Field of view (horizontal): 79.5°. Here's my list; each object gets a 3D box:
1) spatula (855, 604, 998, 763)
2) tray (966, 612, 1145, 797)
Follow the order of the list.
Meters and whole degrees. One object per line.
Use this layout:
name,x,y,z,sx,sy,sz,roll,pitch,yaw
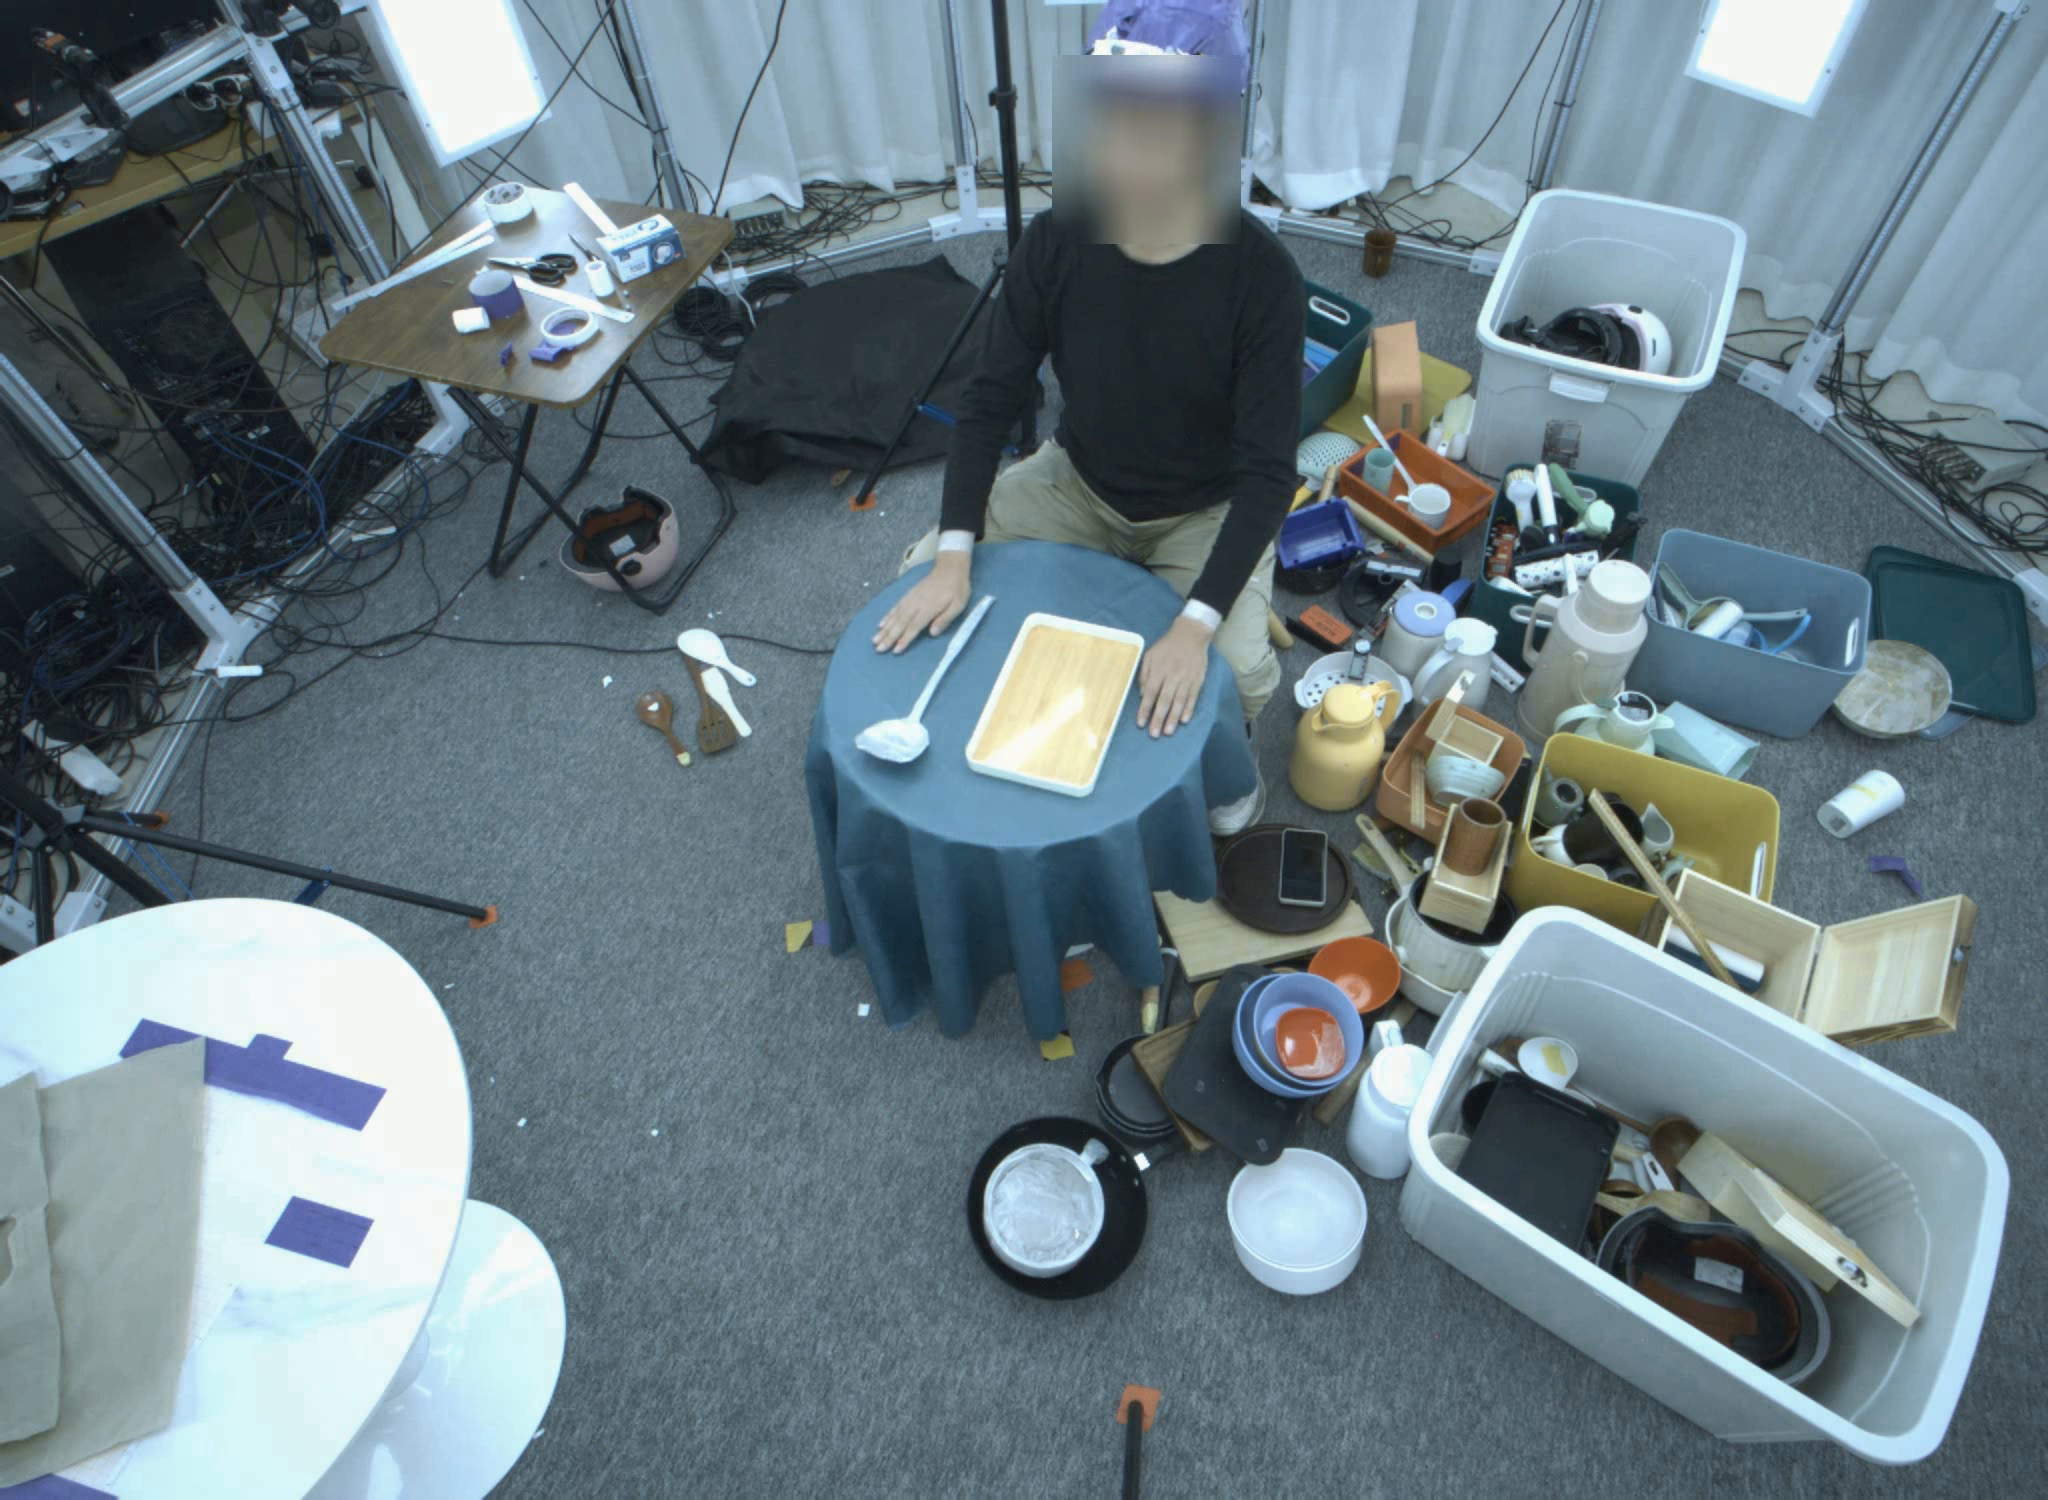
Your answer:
spatula,-0.130,-0.113,1.848,0.097,0.045,0.365,19,58,16
tray,0.051,-0.073,1.821,0.190,0.028,0.300,15,57,12
